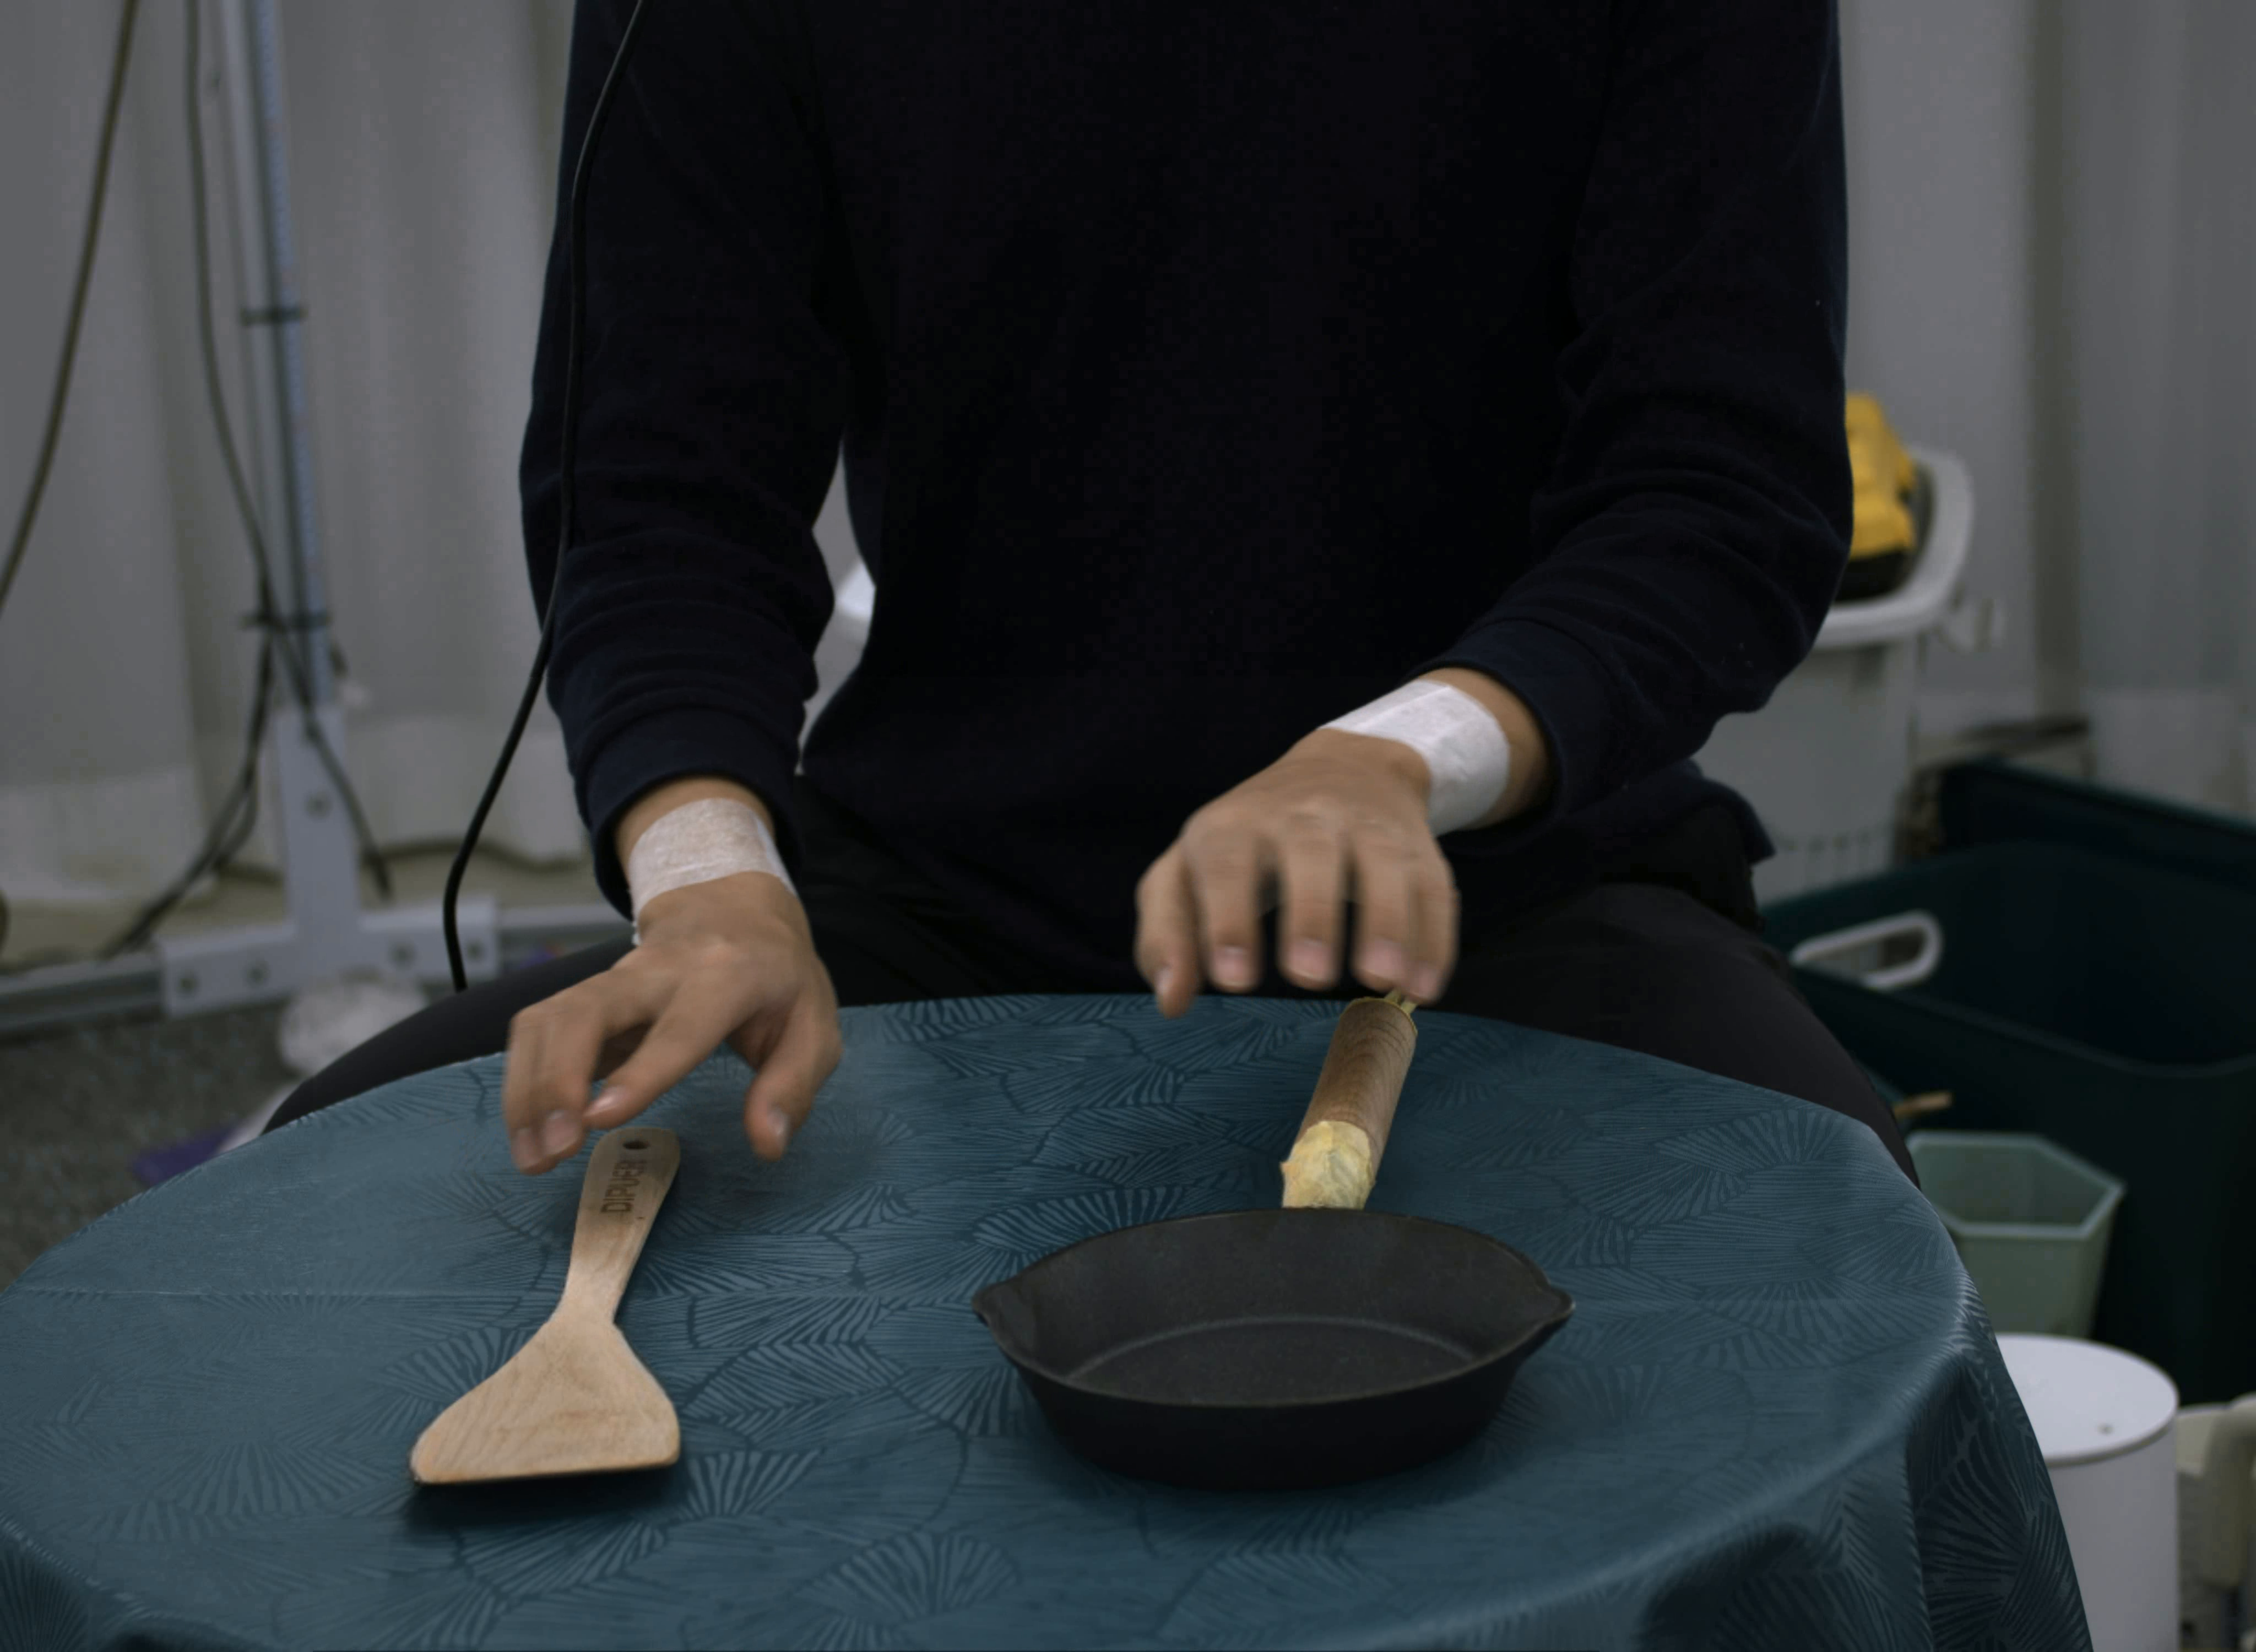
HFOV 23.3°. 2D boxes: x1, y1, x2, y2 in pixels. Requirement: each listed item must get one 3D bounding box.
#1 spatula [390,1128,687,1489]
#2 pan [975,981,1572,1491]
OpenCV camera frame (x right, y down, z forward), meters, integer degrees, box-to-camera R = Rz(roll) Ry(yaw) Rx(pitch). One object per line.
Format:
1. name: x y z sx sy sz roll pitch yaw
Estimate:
1. spatula: -0.159 0.140 1.623 0.079 0.016 0.330 -2 15 1
2. pan: 0.057 0.117 1.601 0.169 0.049 0.326 0 17 12
